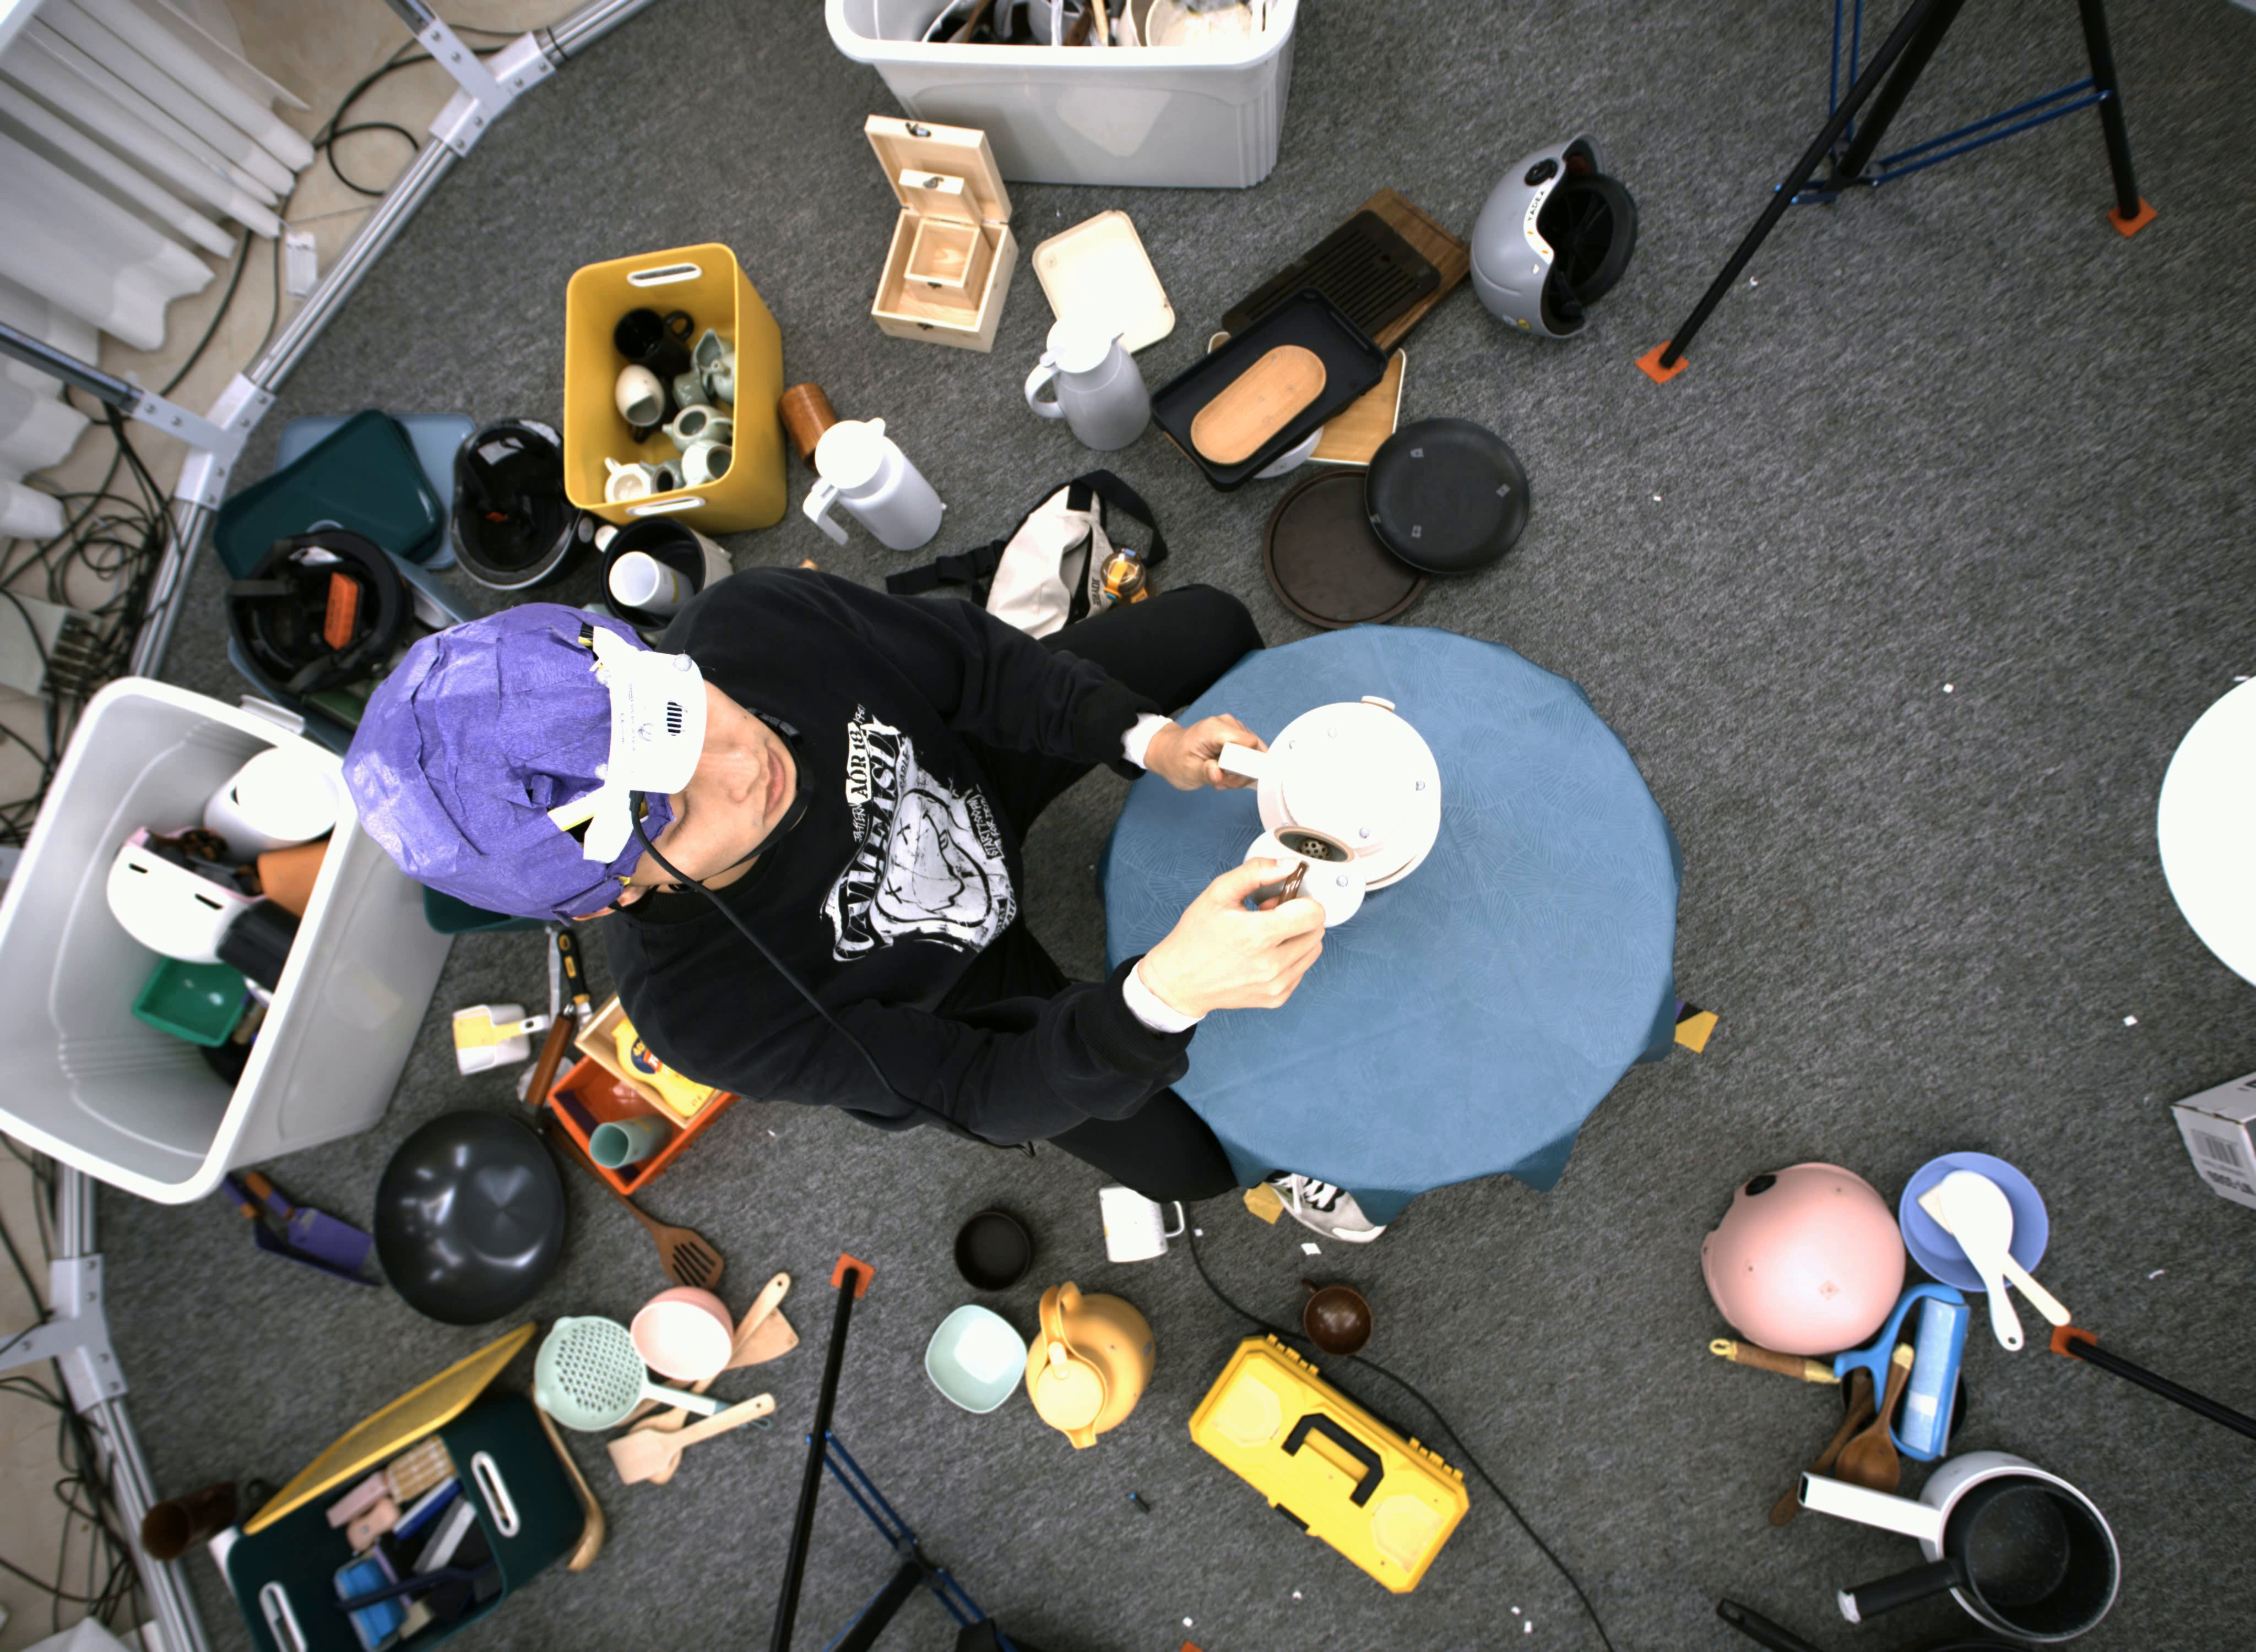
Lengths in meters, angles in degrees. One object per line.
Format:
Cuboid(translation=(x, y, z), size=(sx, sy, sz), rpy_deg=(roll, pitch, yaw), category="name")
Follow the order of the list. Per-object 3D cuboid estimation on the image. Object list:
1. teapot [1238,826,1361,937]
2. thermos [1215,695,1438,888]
Cuboid(translation=(0.123, 0.042, 1.010), size=(0.092, 0.125, 0.061), rpy_deg=(22, 113, 9), category="teapot")
Cuboid(translation=(0.188, -0.031, 1.277), size=(0.207, 0.405, 0.175), rpy_deg=(18, 92, 9), category="thermos")
